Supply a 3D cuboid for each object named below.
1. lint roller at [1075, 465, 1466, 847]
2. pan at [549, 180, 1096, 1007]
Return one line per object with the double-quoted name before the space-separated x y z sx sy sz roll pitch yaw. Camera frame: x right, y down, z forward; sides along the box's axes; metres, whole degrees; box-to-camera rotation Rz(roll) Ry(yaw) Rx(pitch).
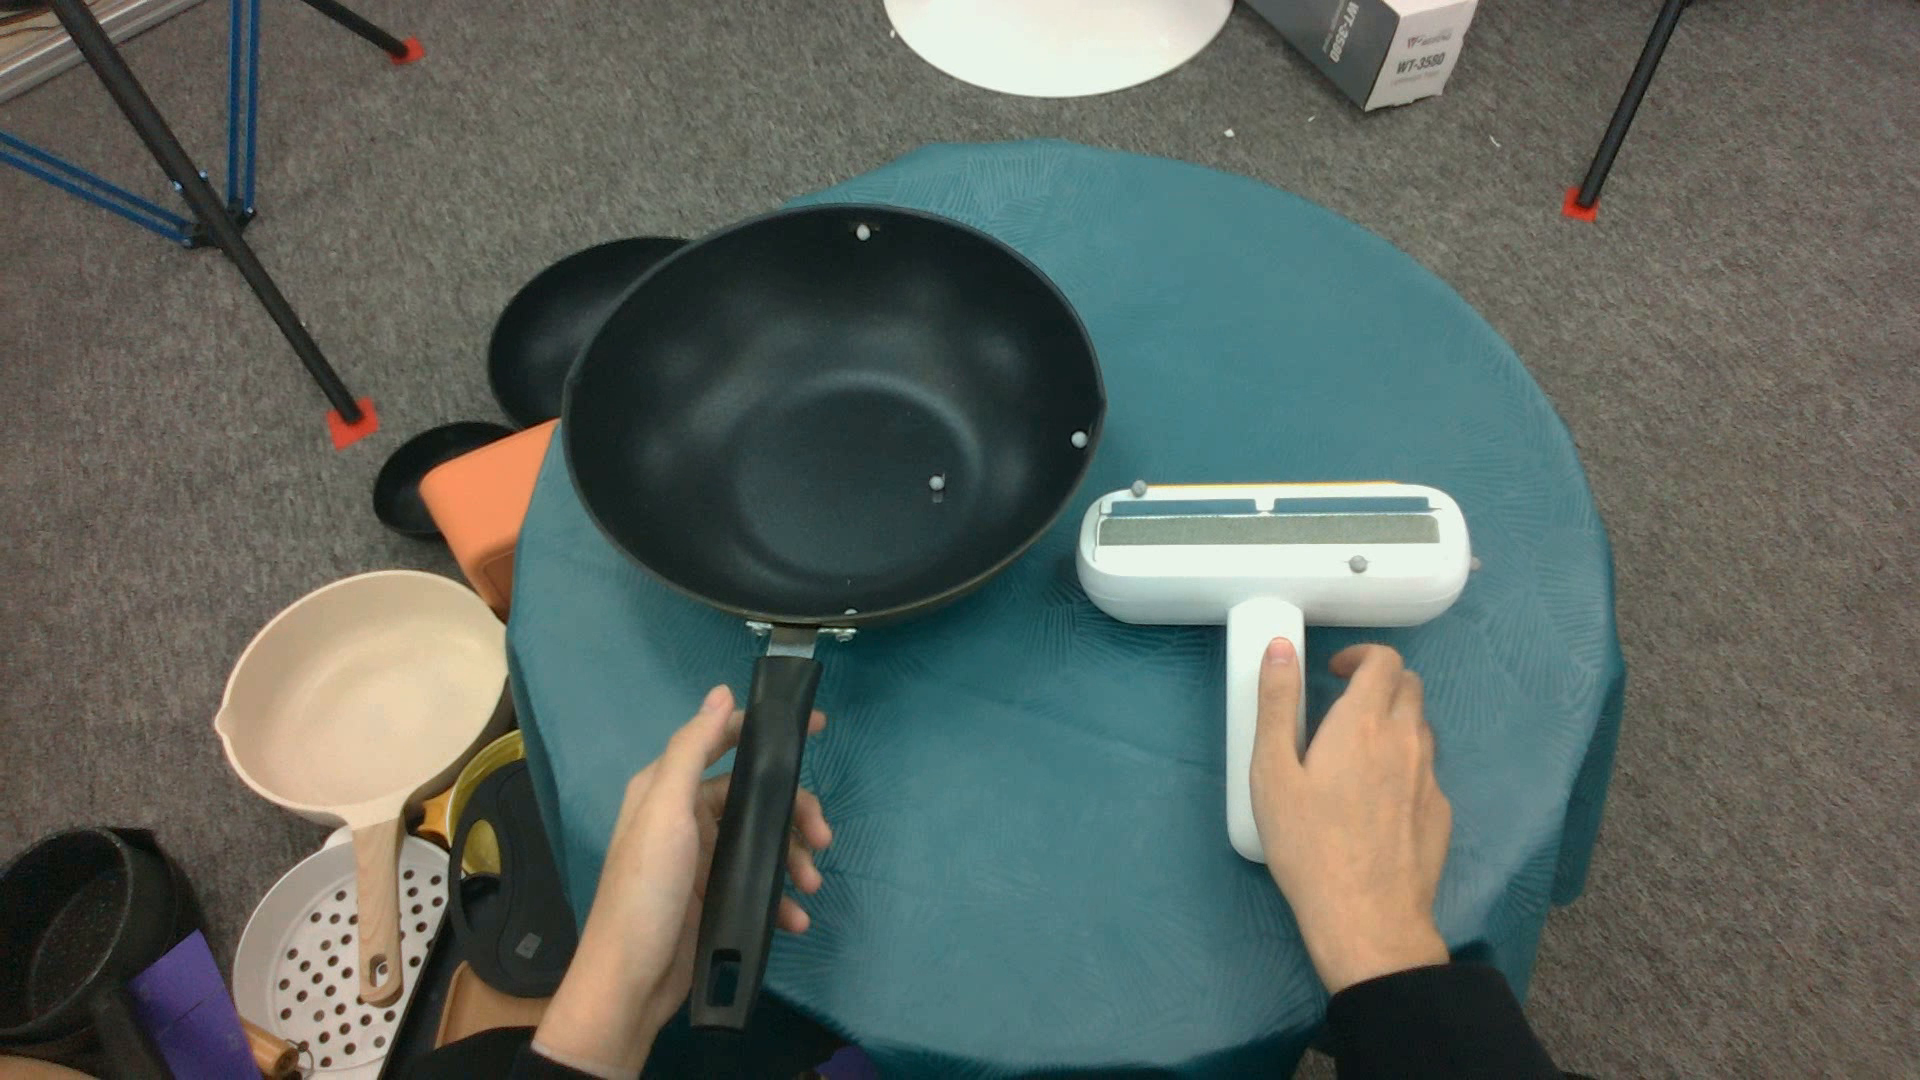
"lint roller" 0.145 0.052 0.679 0.193 0.074 0.193 5 59 11
"pan" -0.081 0.009 0.702 0.288 0.086 0.465 4 58 4
